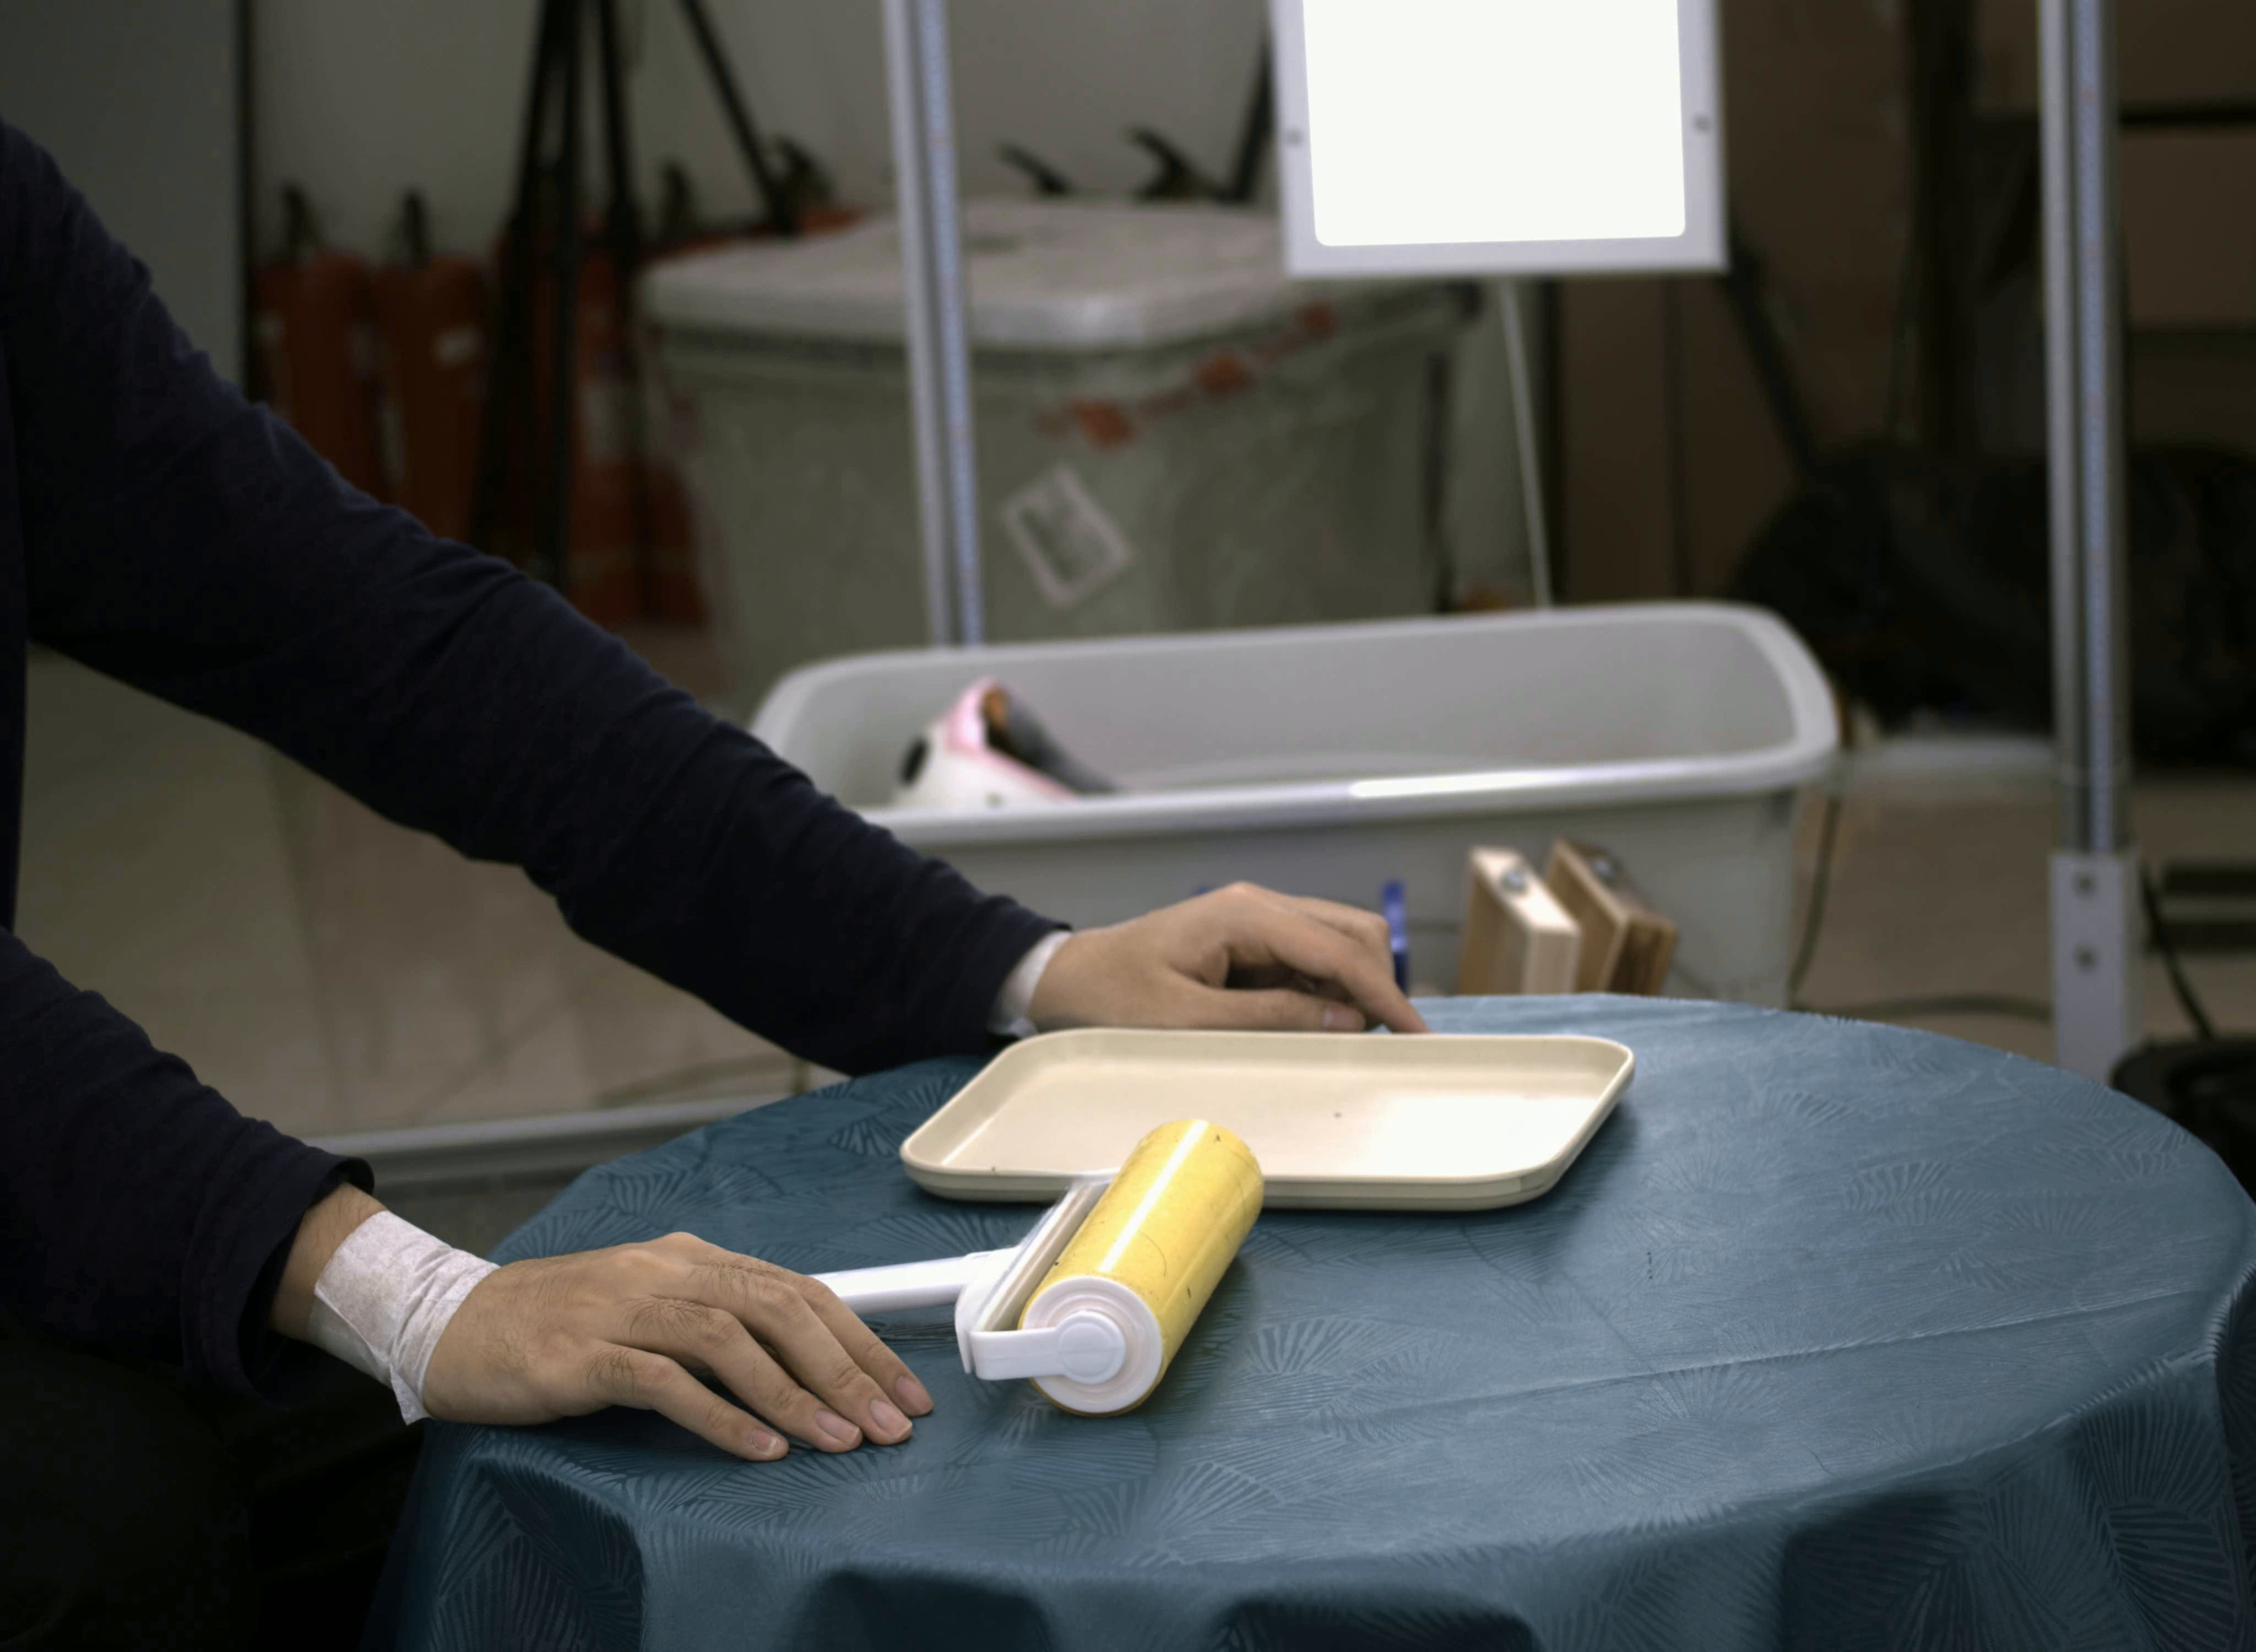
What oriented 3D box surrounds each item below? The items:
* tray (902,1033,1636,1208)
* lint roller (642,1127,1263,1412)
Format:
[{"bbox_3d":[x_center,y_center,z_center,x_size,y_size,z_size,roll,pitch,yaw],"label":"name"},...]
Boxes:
[{"bbox_3d":[0.052,0.104,1.940,0.243,0.017,0.168,0,14,20],"label":"tray"},{"bbox_3d":[-0.063,0.139,1.767,0.193,0.051,0.172,2,14,12],"label":"lint roller"}]
